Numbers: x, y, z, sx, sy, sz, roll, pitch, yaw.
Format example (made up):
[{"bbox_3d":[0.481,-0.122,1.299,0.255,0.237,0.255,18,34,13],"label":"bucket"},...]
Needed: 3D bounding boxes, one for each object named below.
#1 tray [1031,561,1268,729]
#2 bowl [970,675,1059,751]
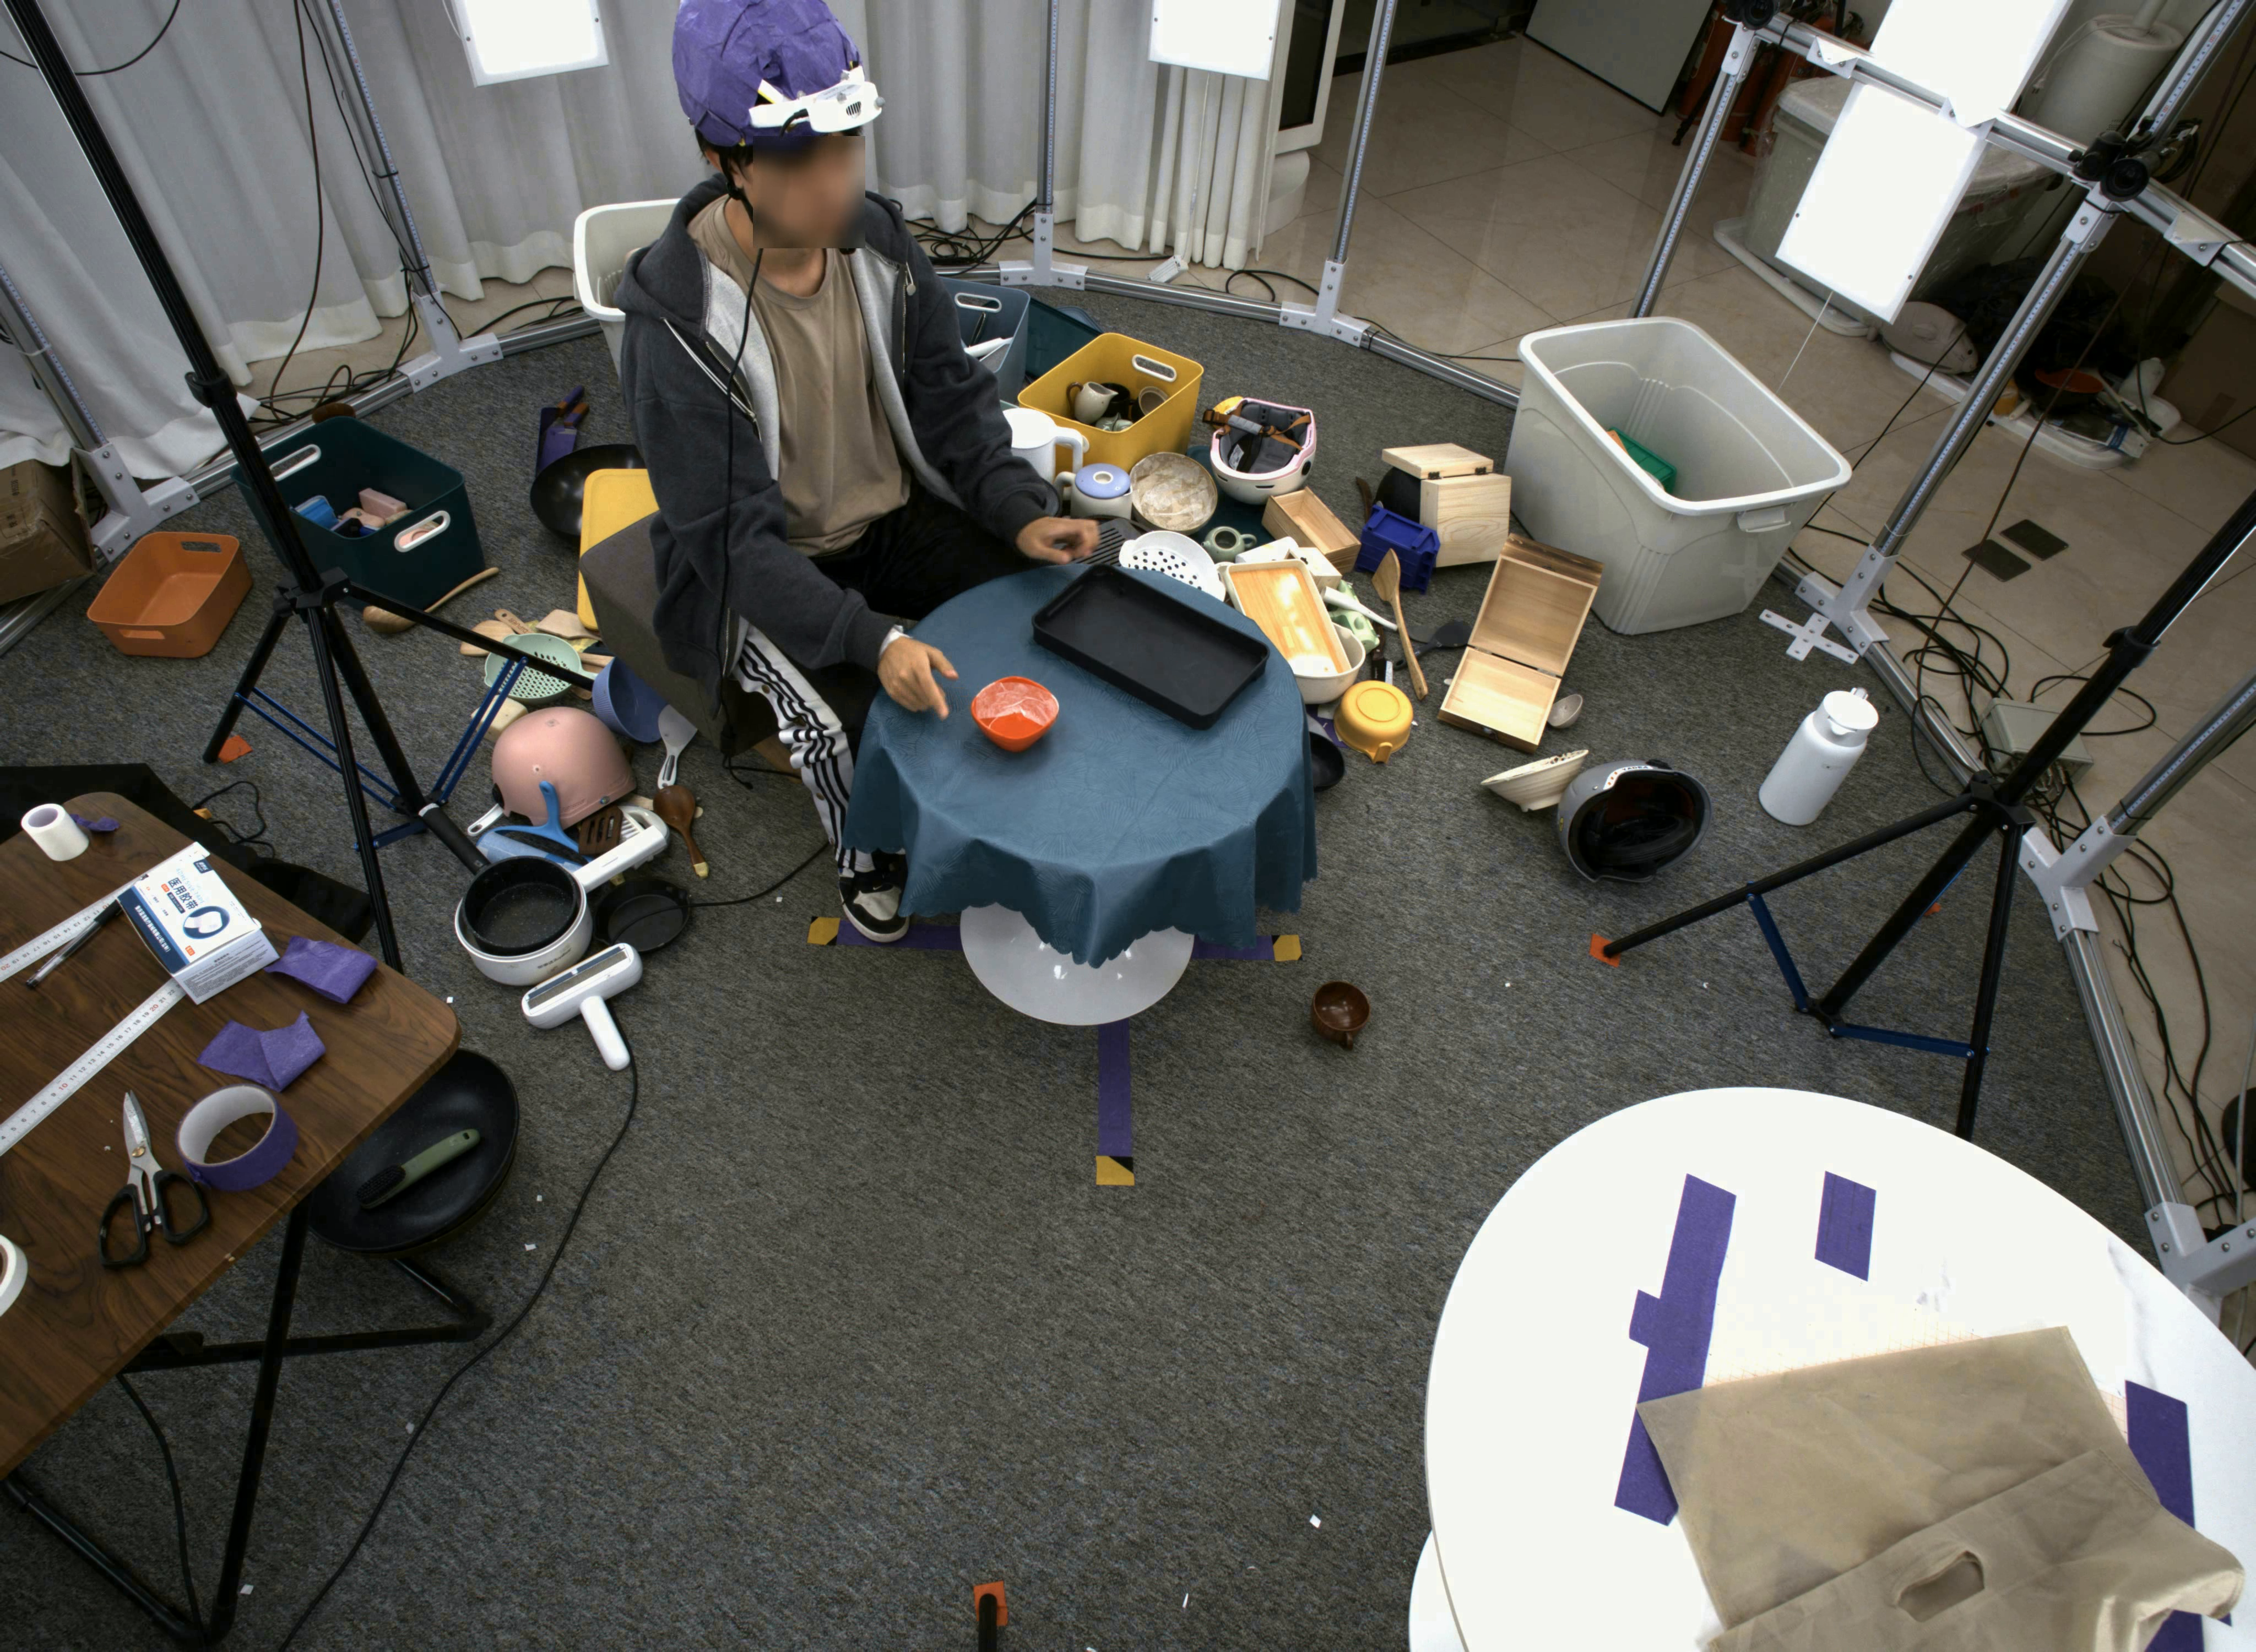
[{"bbox_3d":[0.030,-0.269,1.876,0.321,0.036,0.187,31,53,20],"label":"tray"},{"bbox_3d":[-0.154,-0.148,1.749,0.119,0.050,0.122,2,50,-3],"label":"bowl"}]
